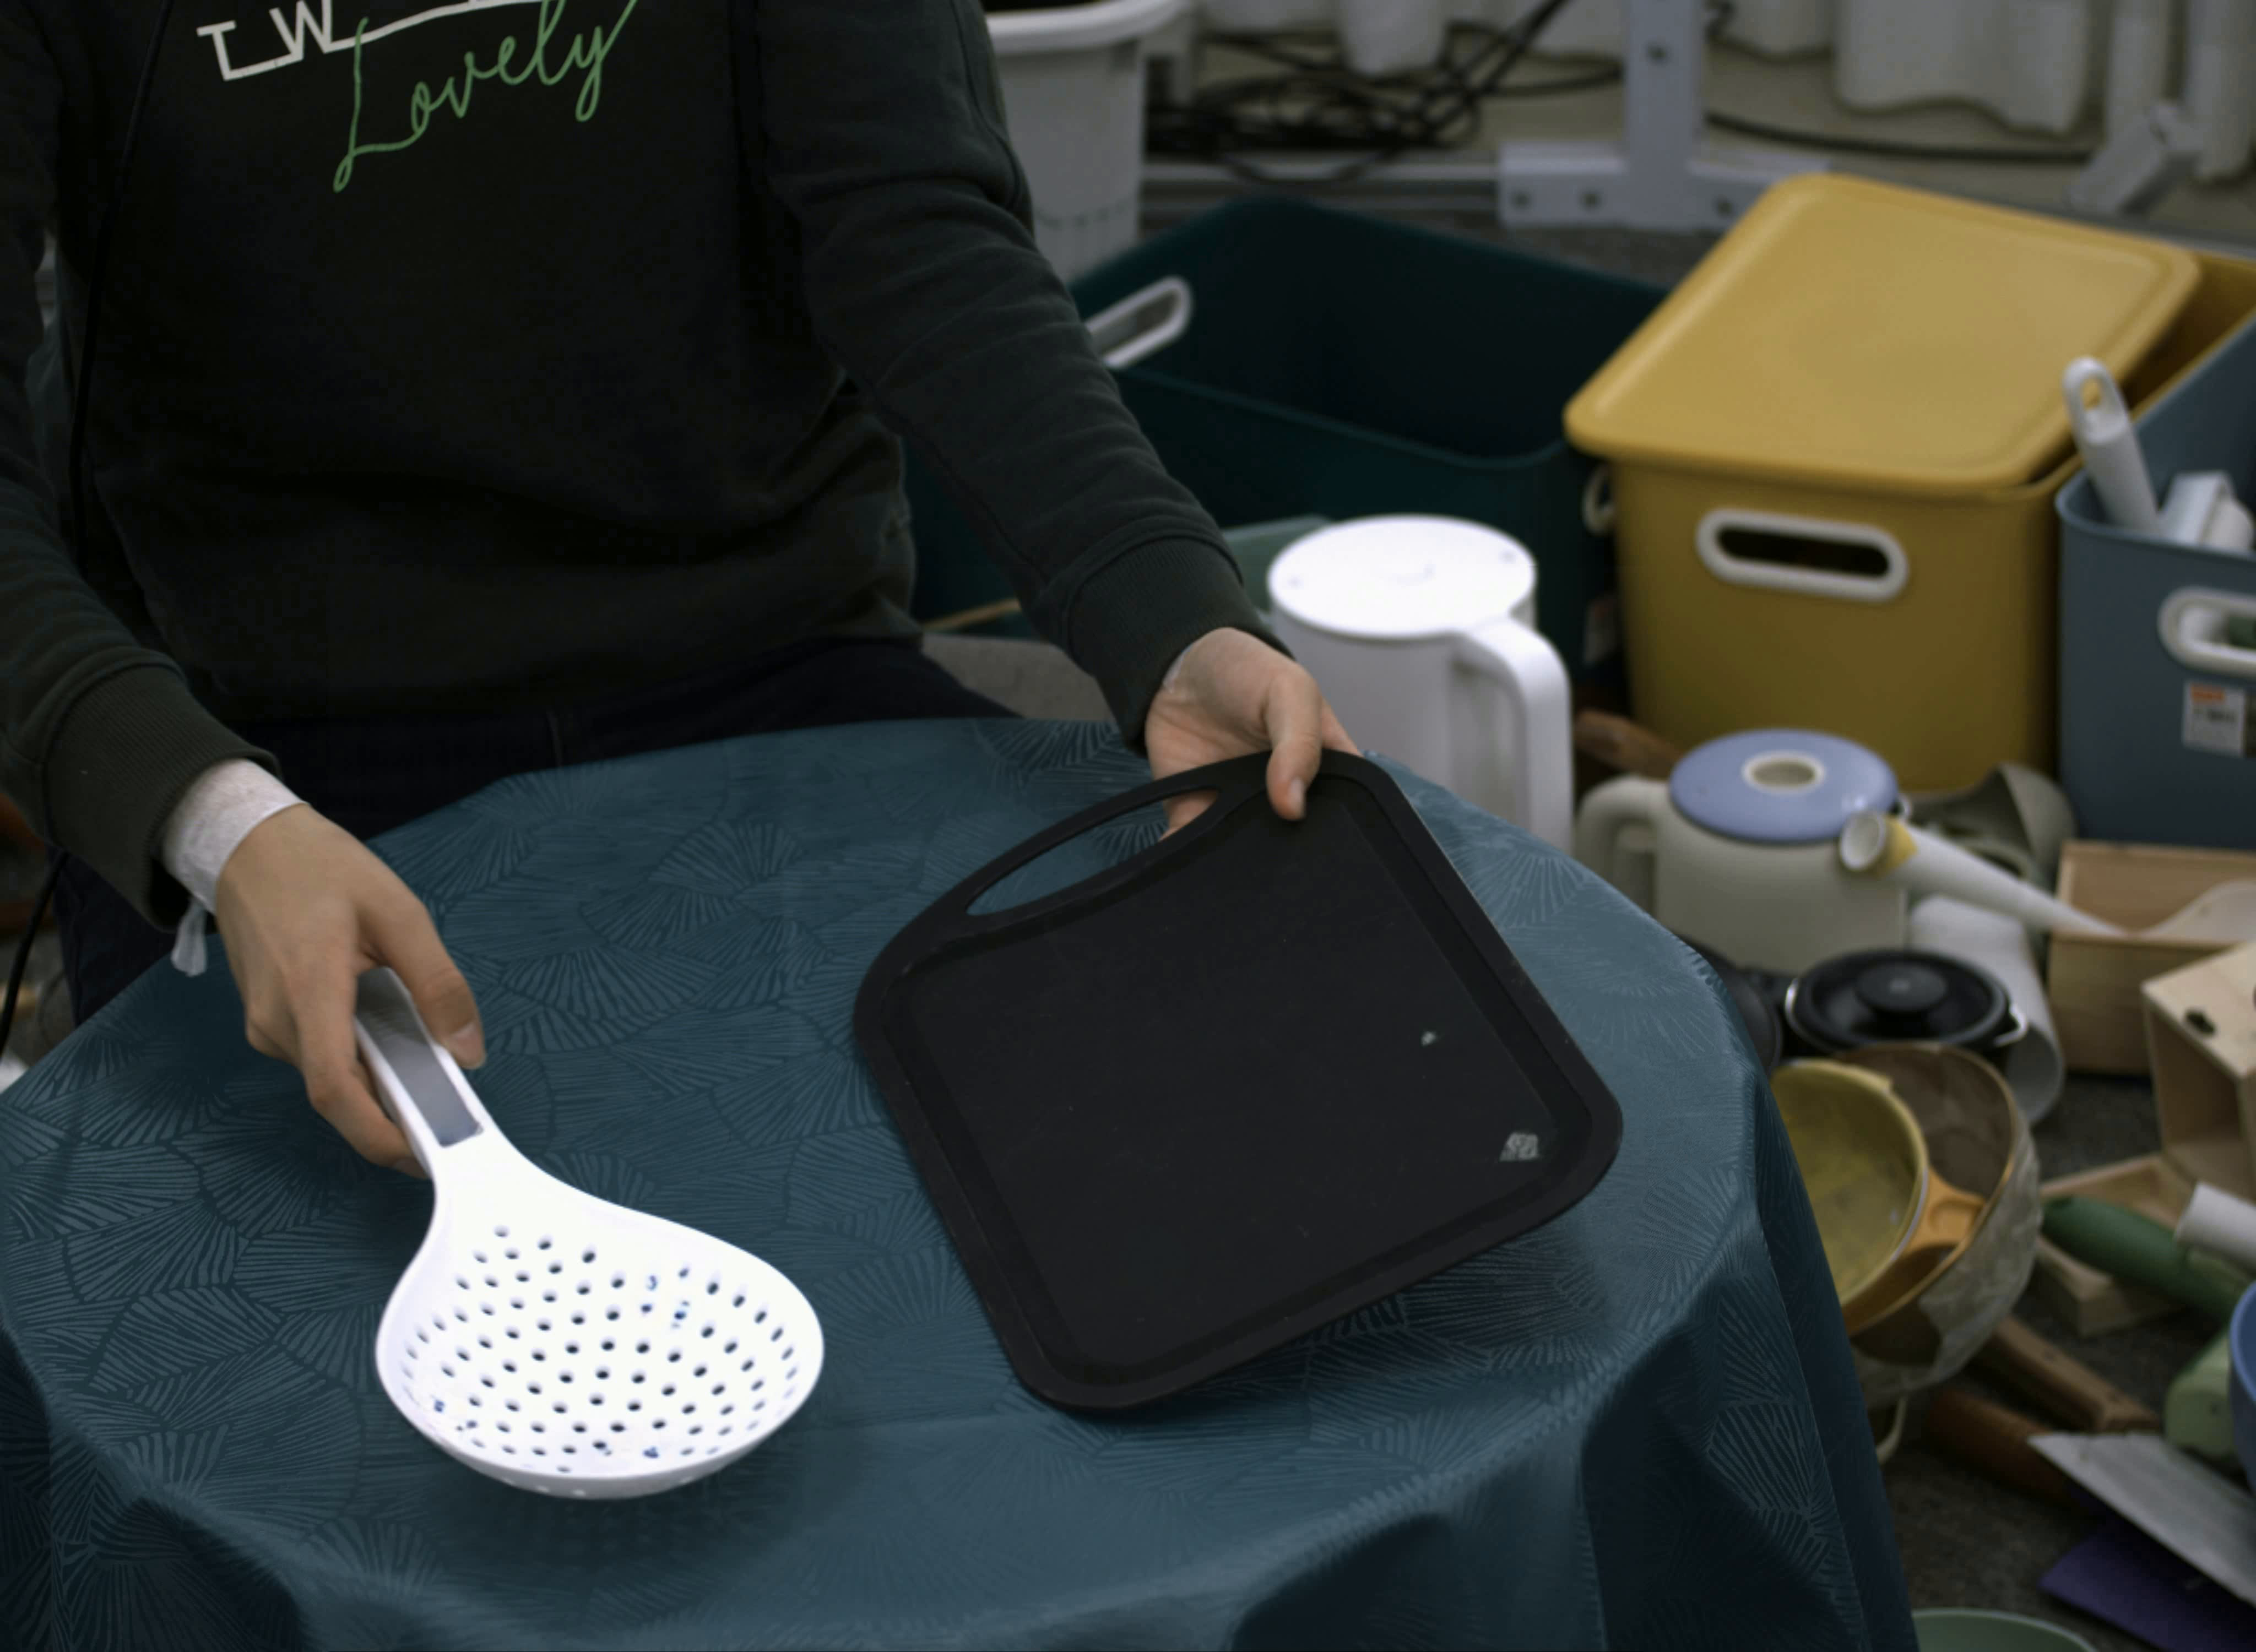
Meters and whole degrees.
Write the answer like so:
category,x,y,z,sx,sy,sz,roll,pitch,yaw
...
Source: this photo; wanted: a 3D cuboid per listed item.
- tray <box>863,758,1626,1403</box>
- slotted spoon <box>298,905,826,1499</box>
category,x,y,z,sx,sy,sz,roll,pitch,yaw
tray,0.028,0.074,1.874,0.211,0.009,0.329,-24,31,-4
slotted spoon,-0.205,0.116,1.803,0.136,0.045,0.353,-9,36,-23
